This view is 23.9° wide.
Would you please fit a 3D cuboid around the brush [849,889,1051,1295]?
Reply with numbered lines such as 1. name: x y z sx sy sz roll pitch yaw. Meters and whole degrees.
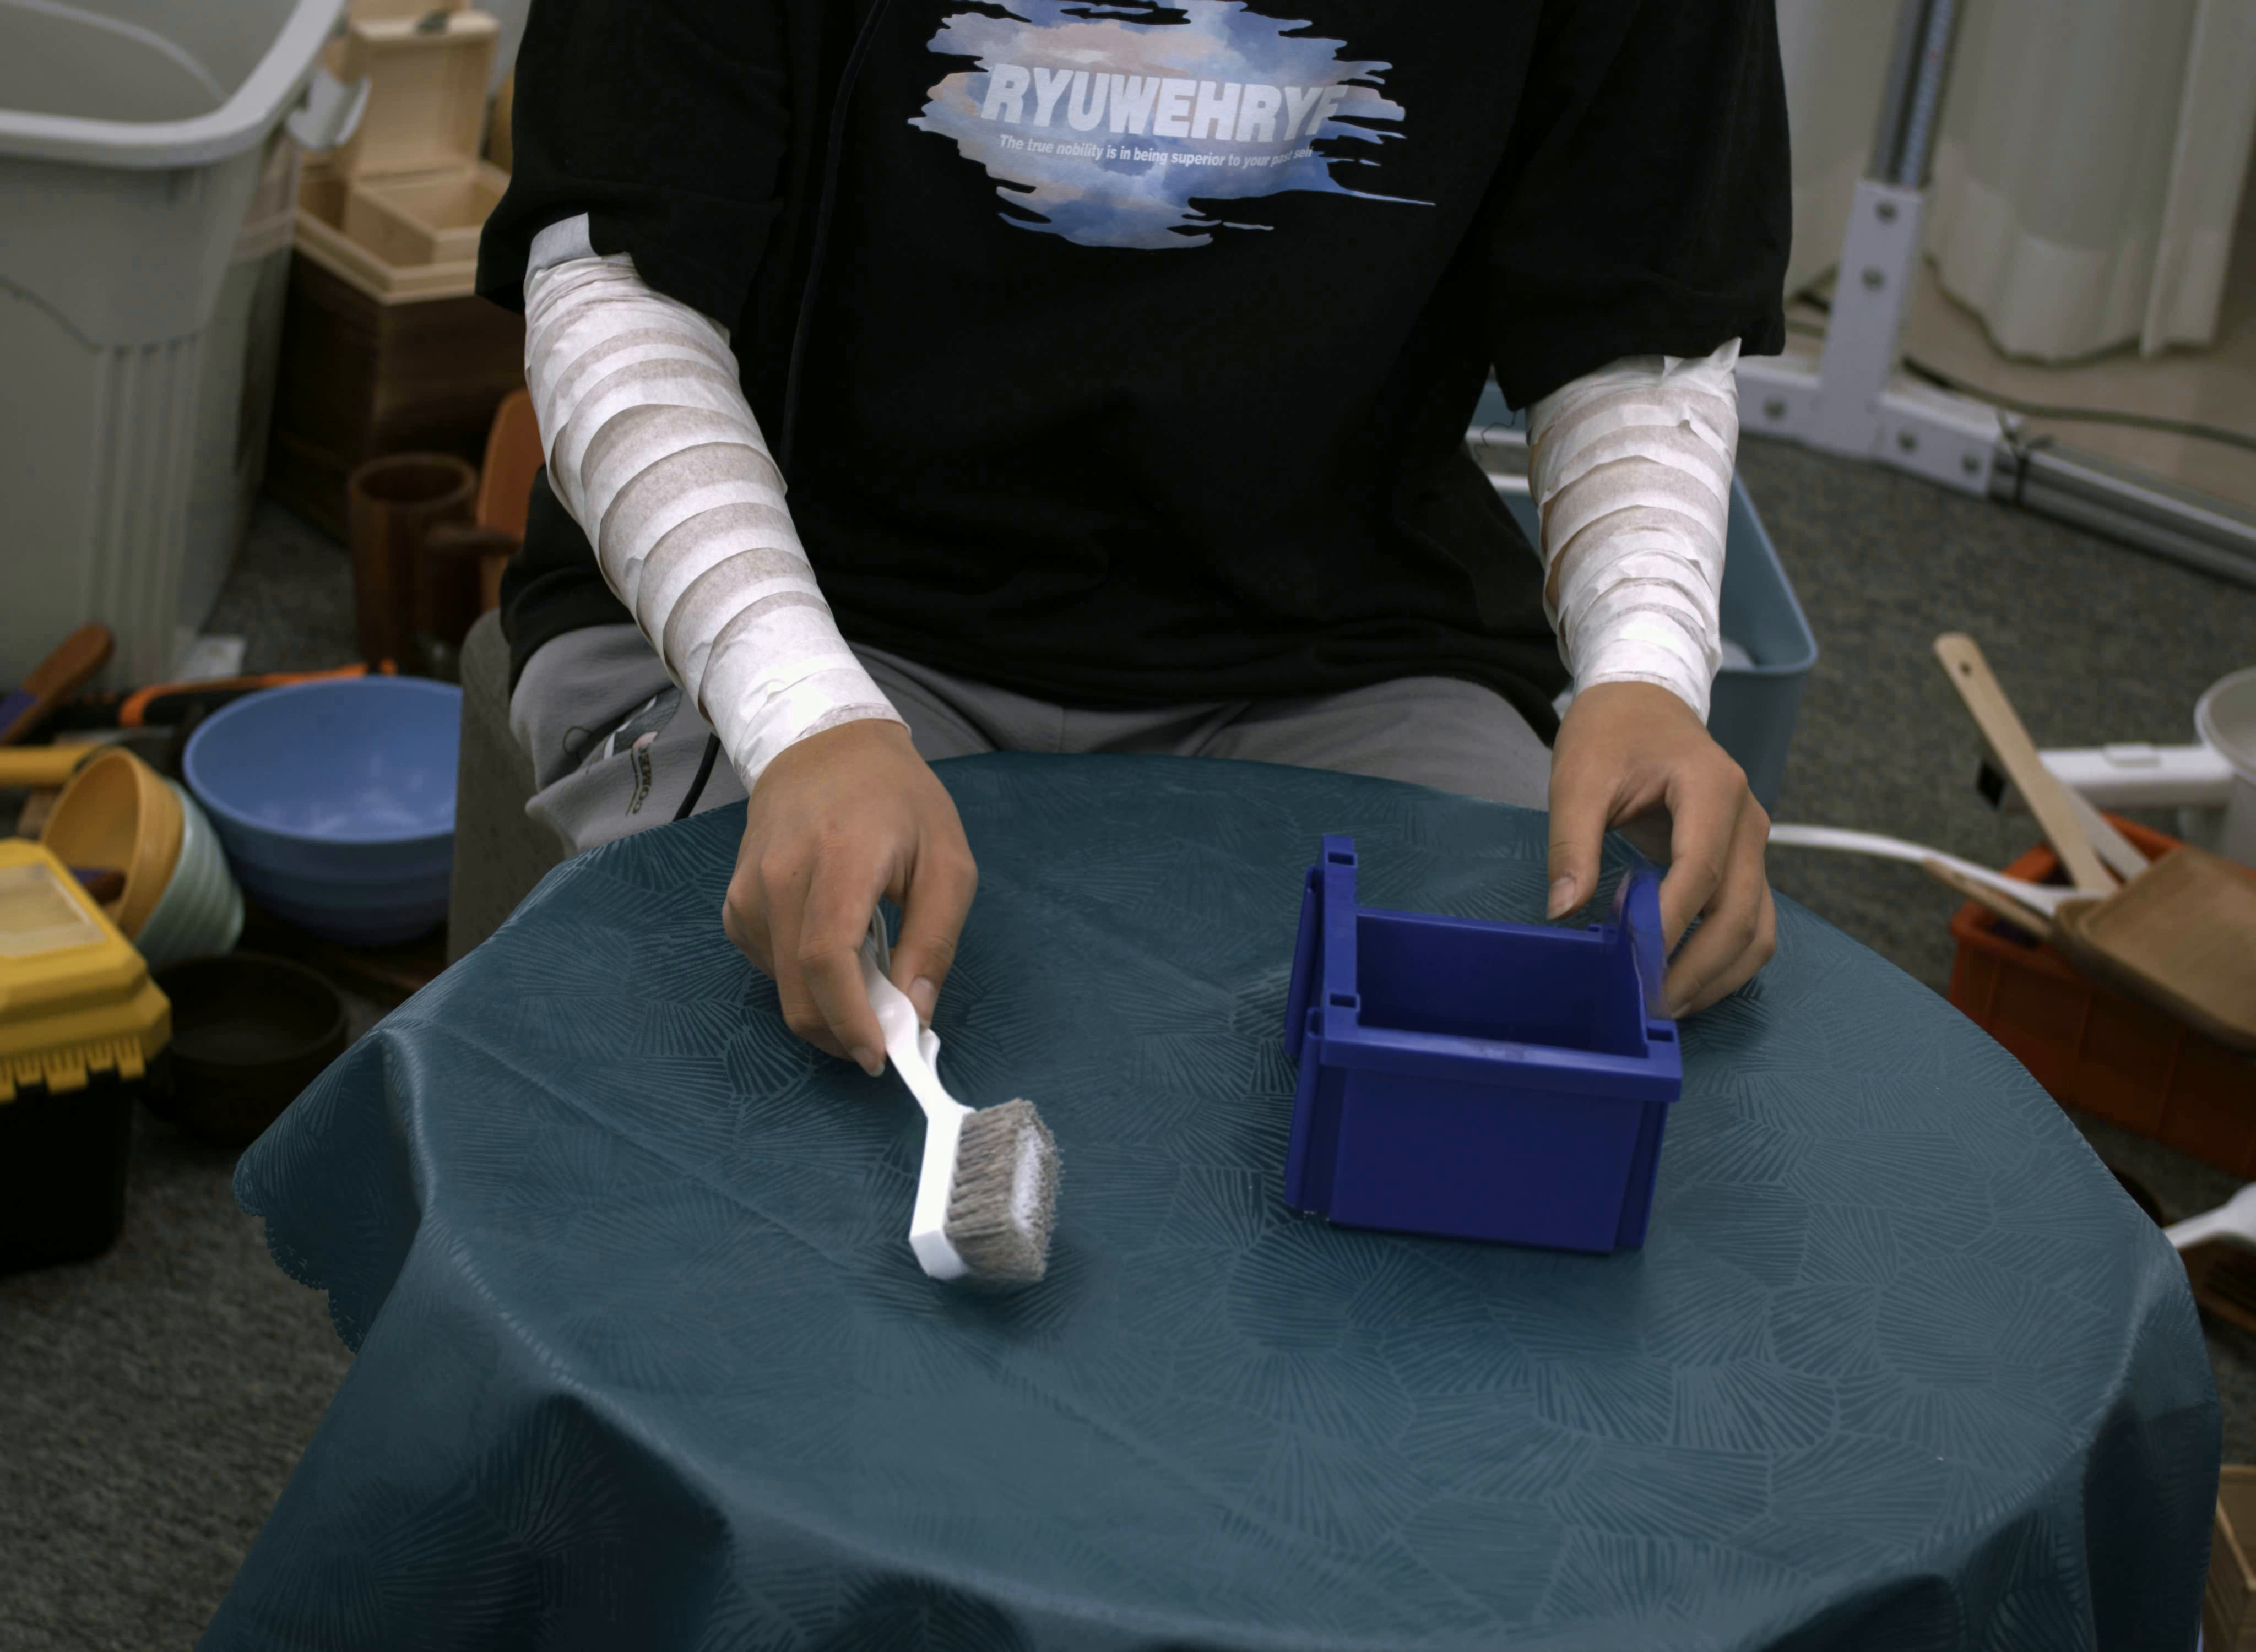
1. brush: -0.061 0.078 1.811 0.050 0.034 0.245 -33 29 10

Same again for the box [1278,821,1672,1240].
1. box: 0.120 0.066 1.855 0.124 0.081 0.180 7 28 1
